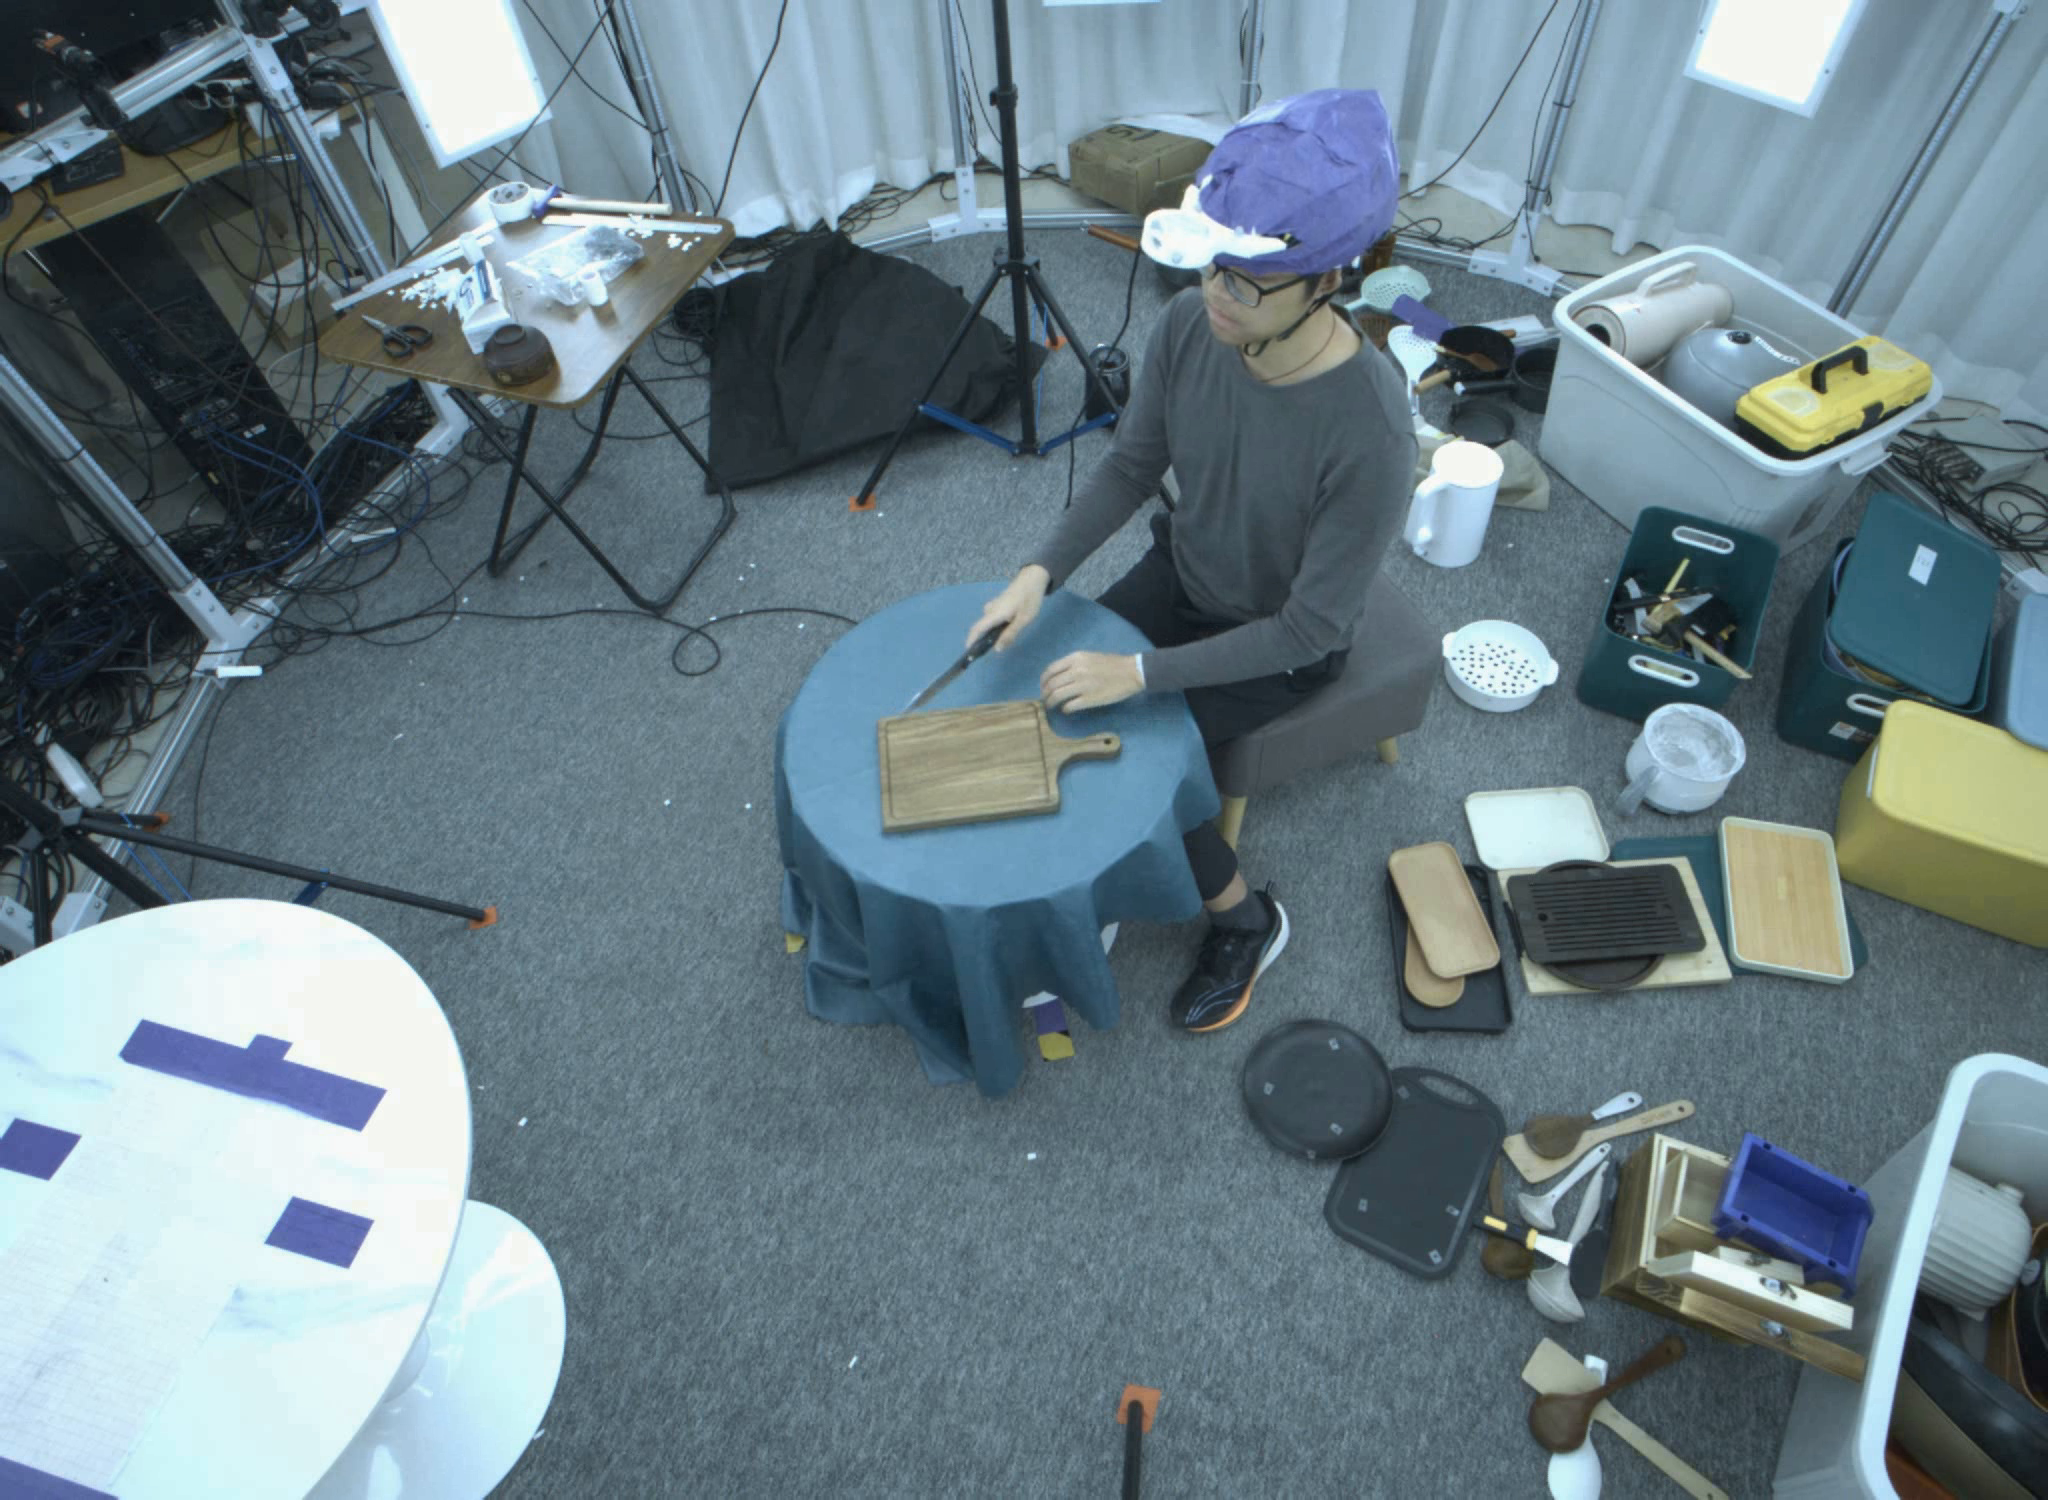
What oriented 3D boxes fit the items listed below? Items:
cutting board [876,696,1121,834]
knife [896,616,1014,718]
[{"bbox_3d":[-0.034,0.012,1.775,0.353,0.023,0.198,-7,55,-4],"label":"cutting board"},{"bbox_3d":[-0.102,-0.124,1.796,0.239,0.025,0.016,-43,39,-22],"label":"knife"}]
